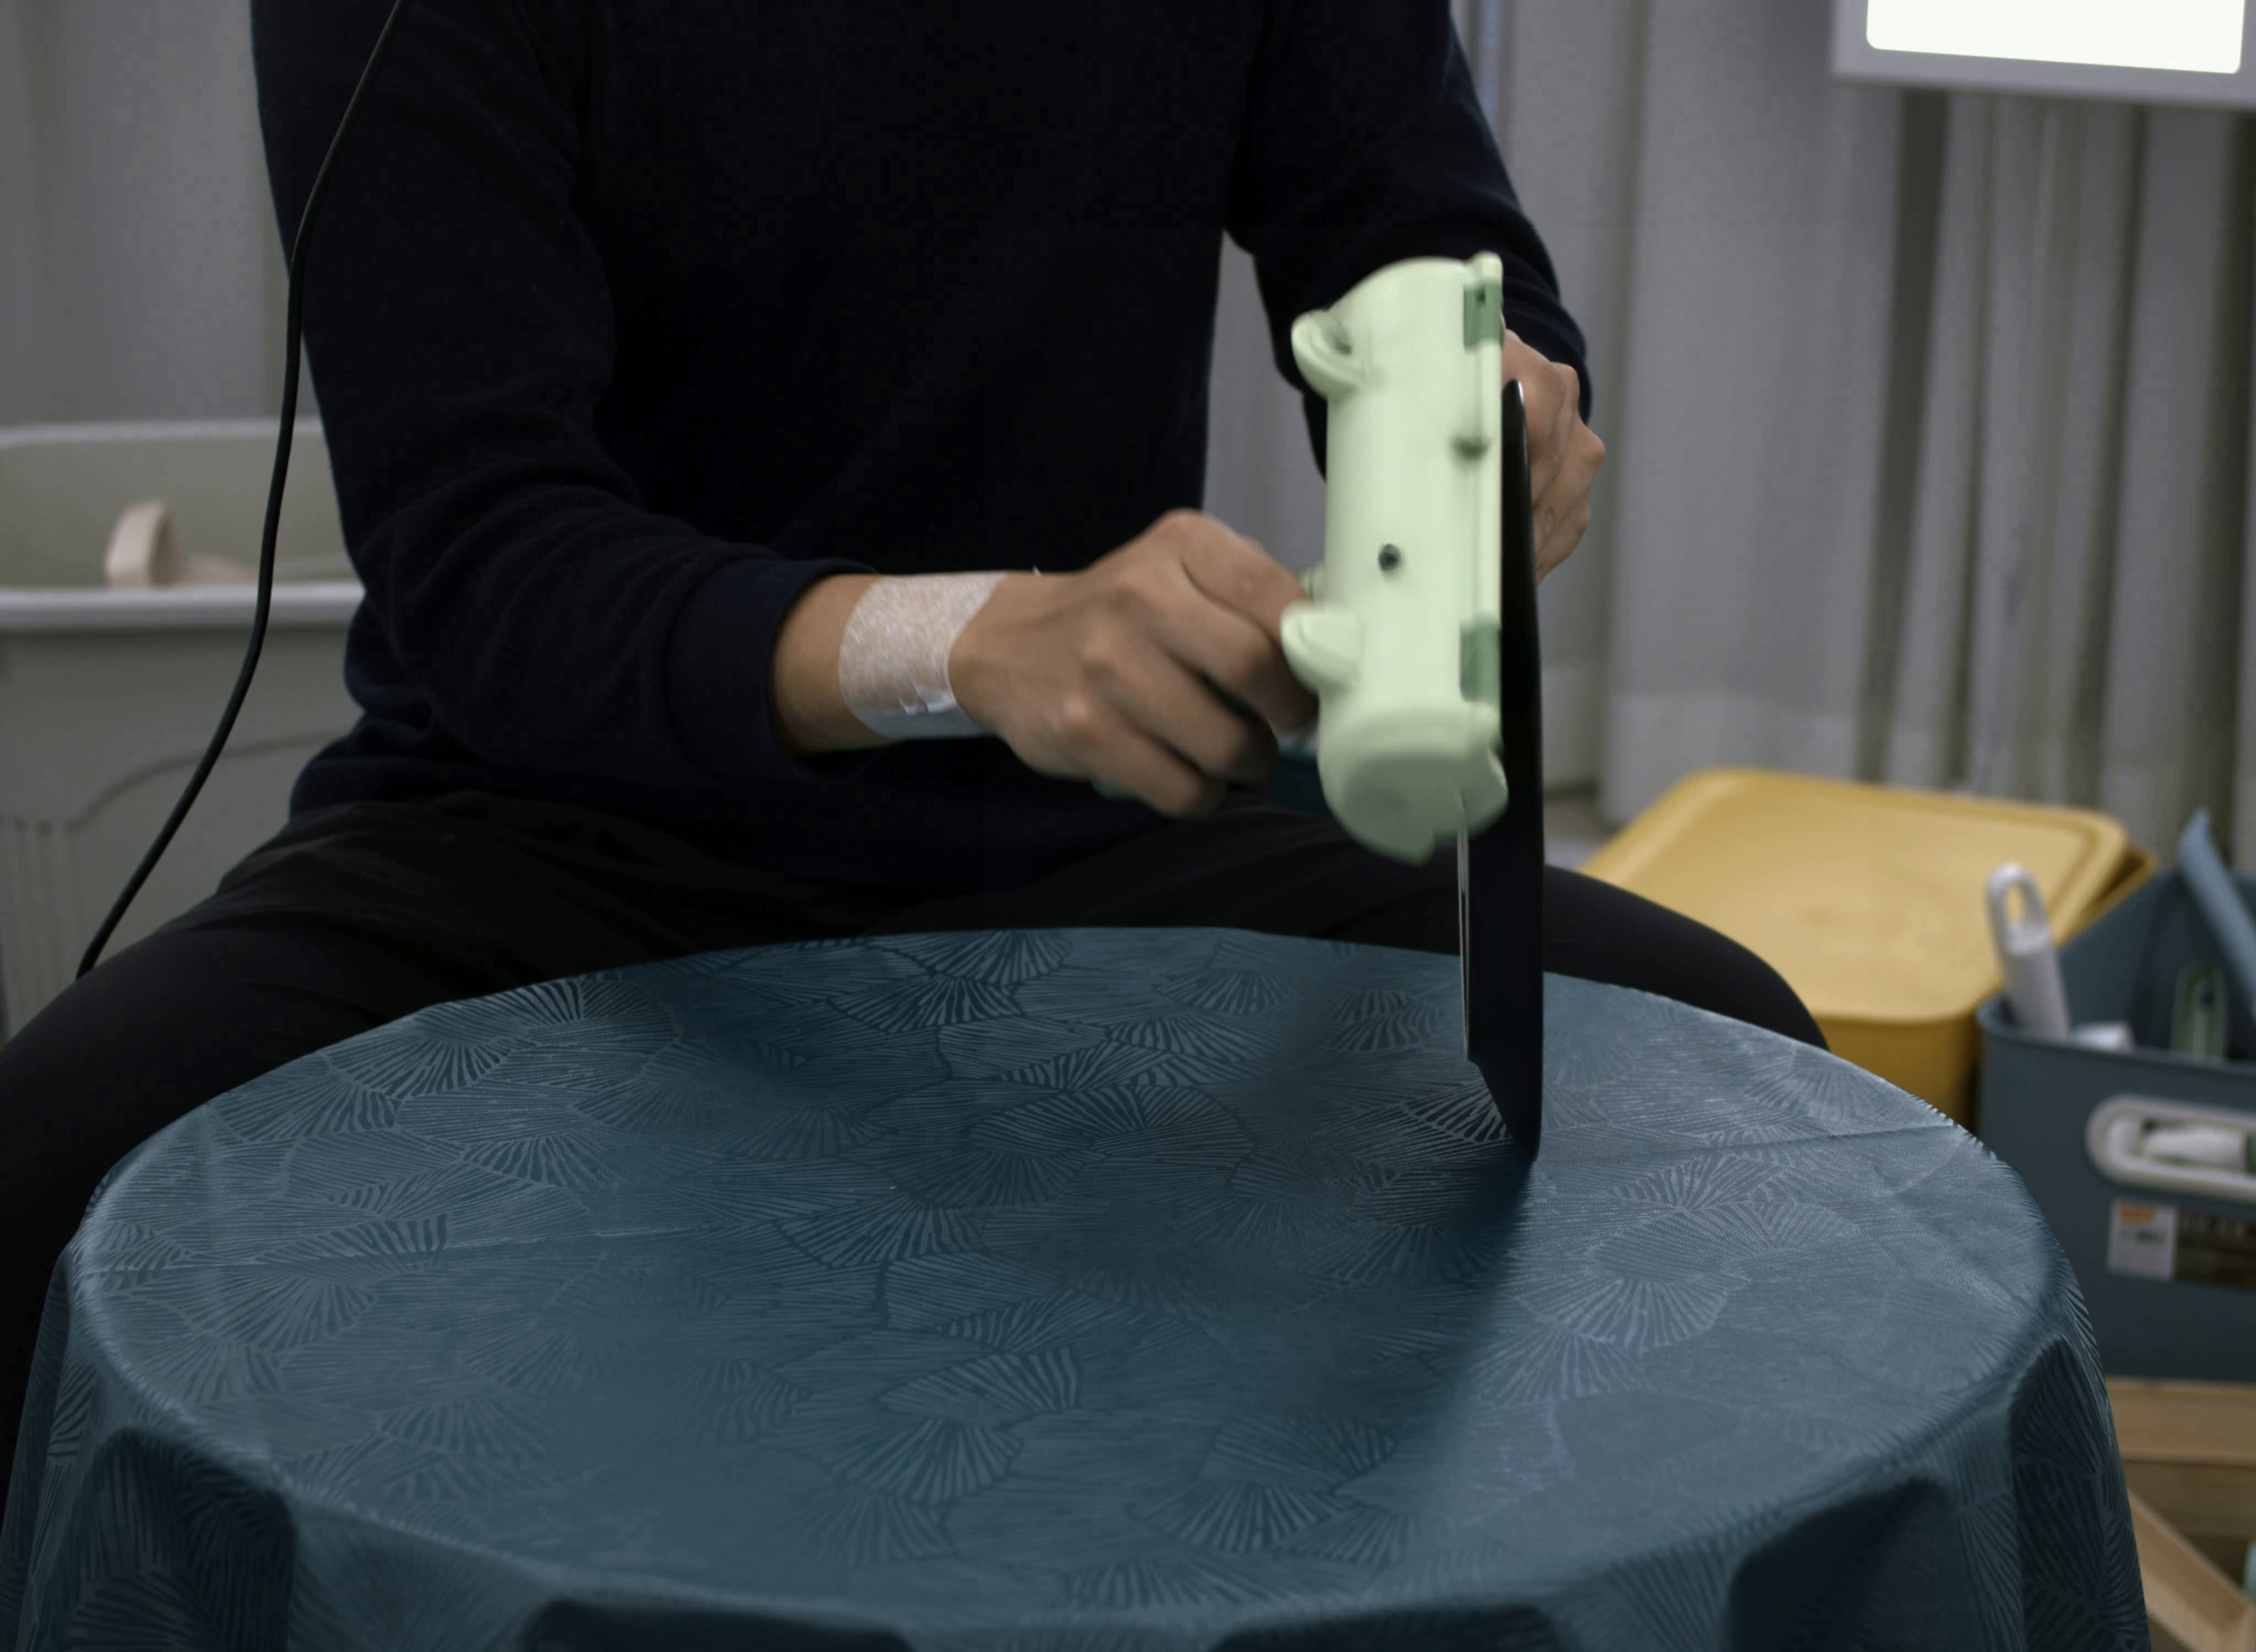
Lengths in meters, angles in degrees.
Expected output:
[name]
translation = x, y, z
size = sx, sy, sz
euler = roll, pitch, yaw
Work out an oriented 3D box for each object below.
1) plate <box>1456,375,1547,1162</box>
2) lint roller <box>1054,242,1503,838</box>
[plate]
translation = 0.114, -0.017, 1.635
size = 0.023, 0.246, 0.243
euler = -1, 16, 3
[lint roller]
translation = 0.034, -0.071, 1.568
size = 0.182, 0.083, 0.197
euler = -24, 43, 28
